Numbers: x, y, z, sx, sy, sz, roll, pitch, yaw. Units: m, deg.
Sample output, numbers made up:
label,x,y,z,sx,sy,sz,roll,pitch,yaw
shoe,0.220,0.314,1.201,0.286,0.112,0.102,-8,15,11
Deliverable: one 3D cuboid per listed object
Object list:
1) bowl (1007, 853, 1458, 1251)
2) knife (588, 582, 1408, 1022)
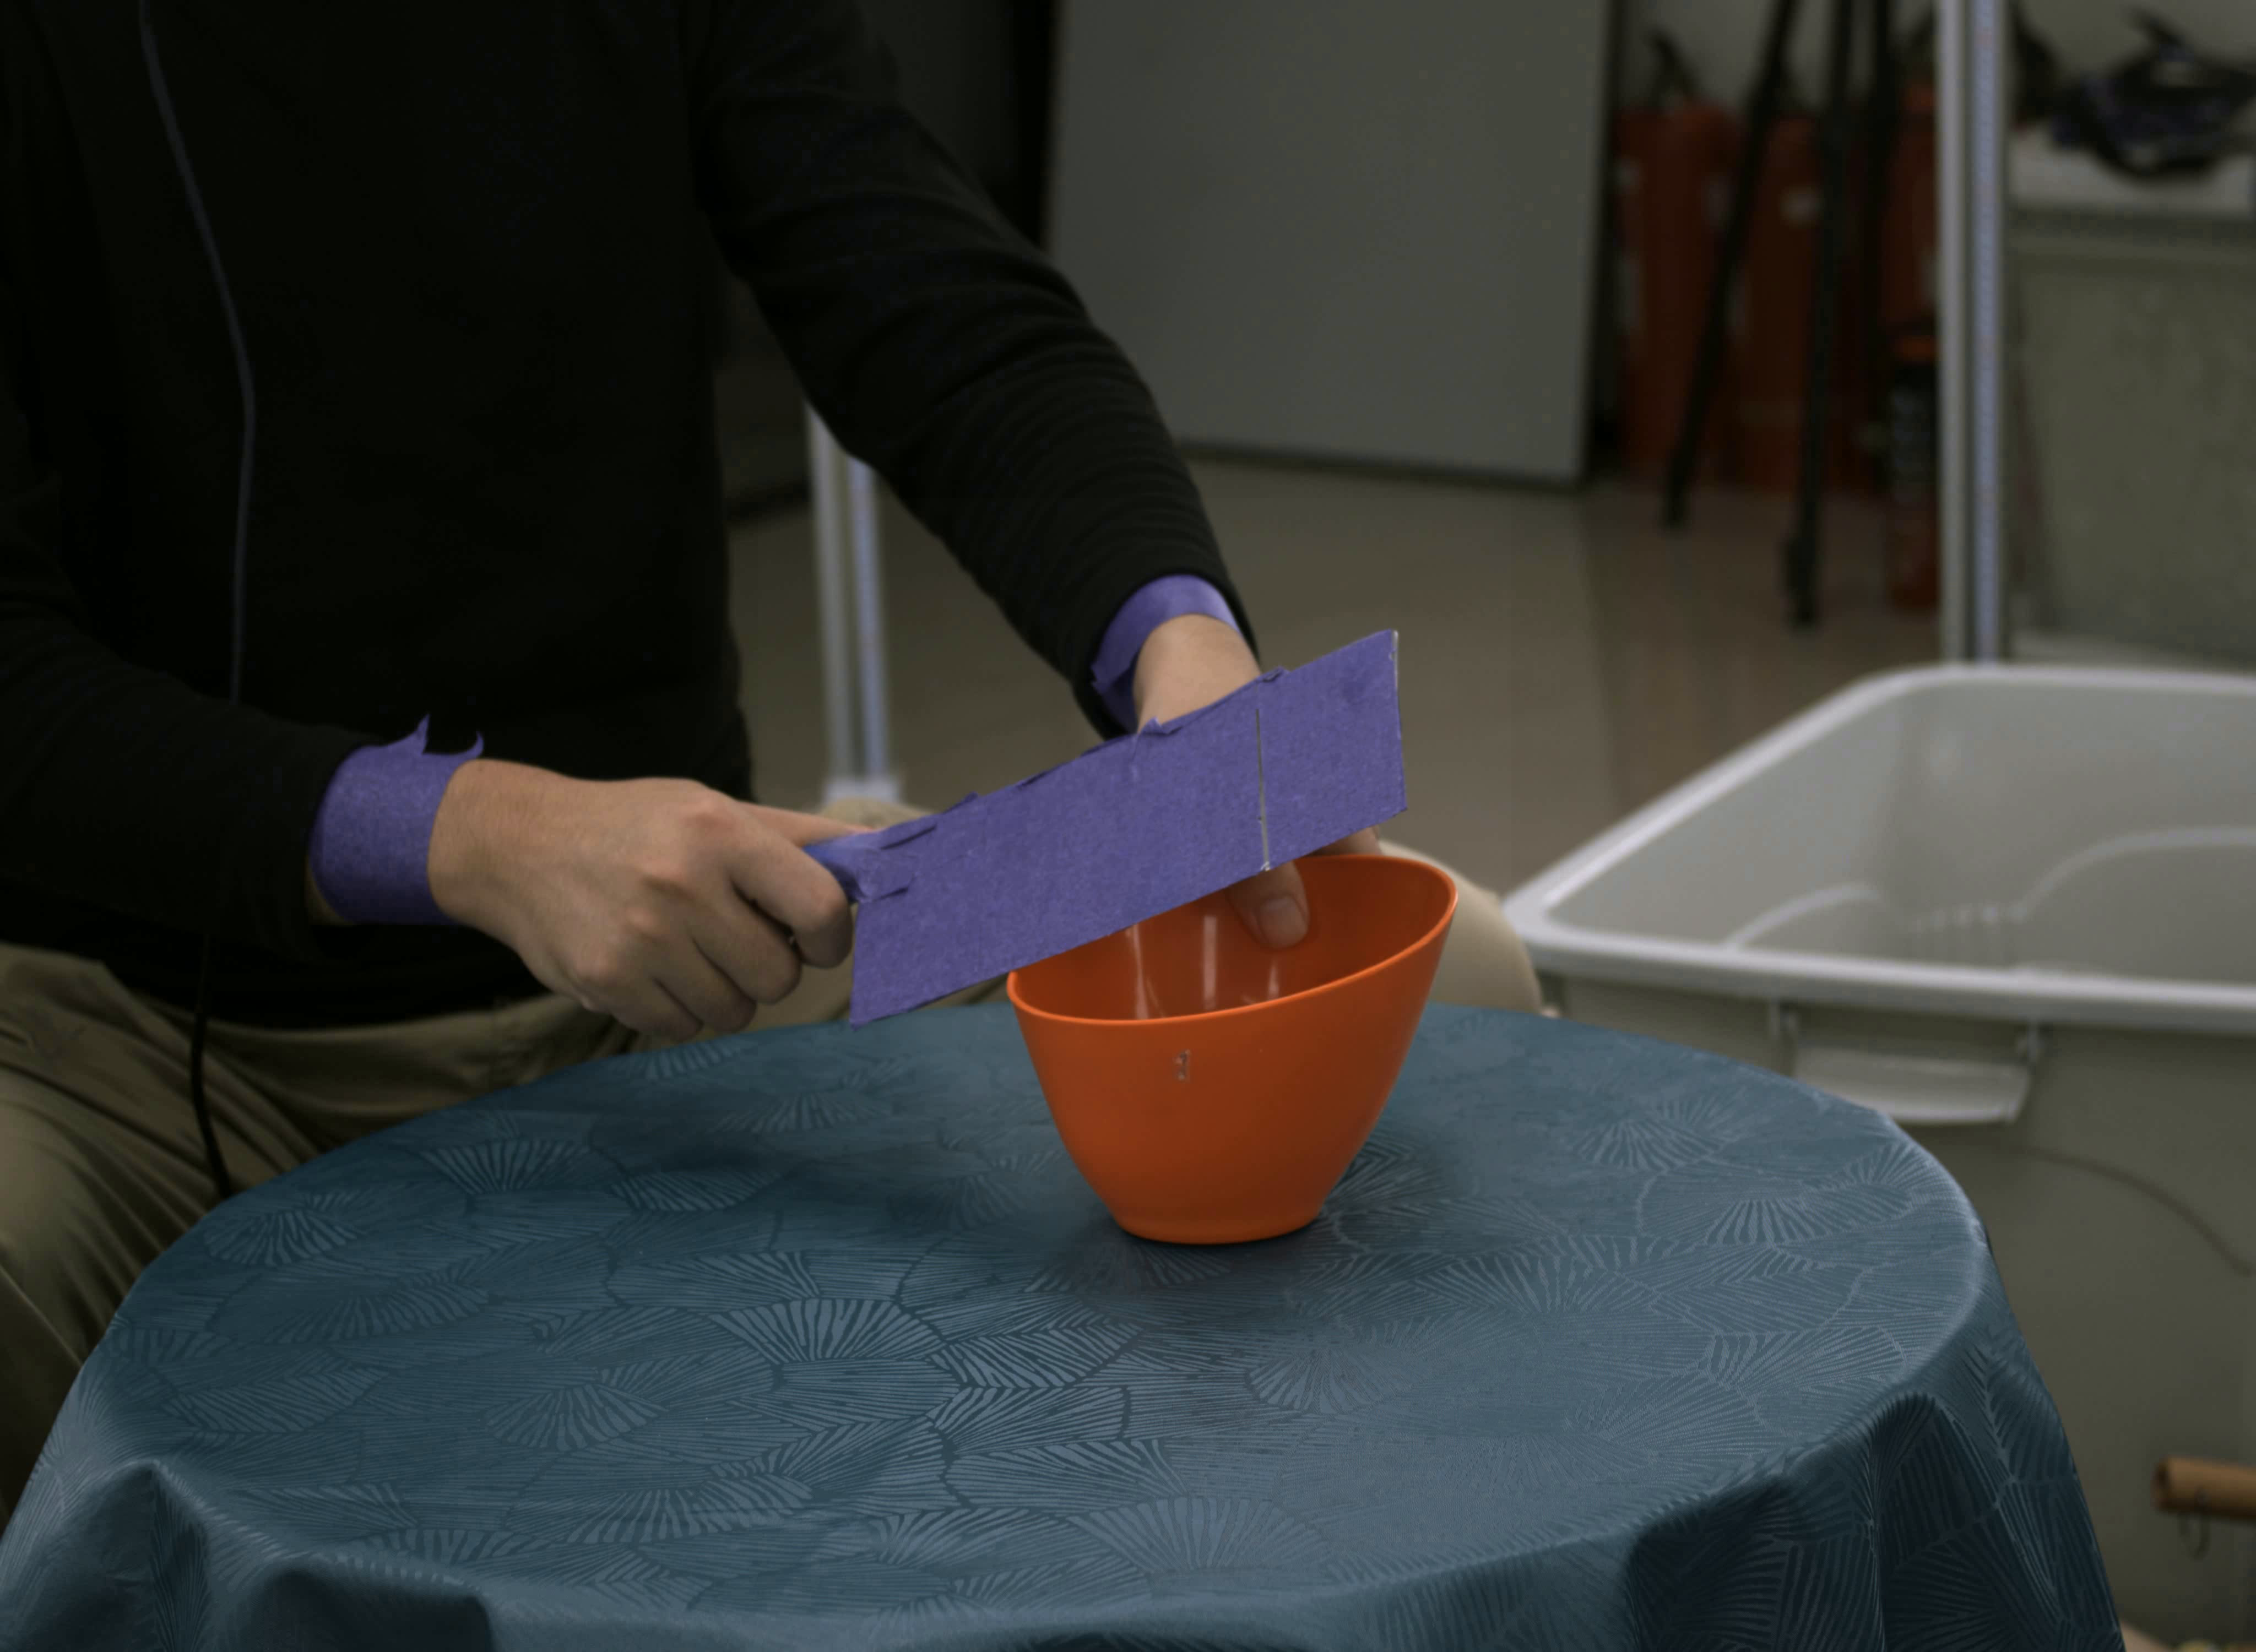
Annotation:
label,x,y,z,sx,sy,sz,roll,pitch,yaw
bowl,0.036,0.075,1.732,0.146,0.106,0.148,-4,13,0
knife,-0.047,0.013,1.778,0.316,0.032,0.104,-25,37,22
